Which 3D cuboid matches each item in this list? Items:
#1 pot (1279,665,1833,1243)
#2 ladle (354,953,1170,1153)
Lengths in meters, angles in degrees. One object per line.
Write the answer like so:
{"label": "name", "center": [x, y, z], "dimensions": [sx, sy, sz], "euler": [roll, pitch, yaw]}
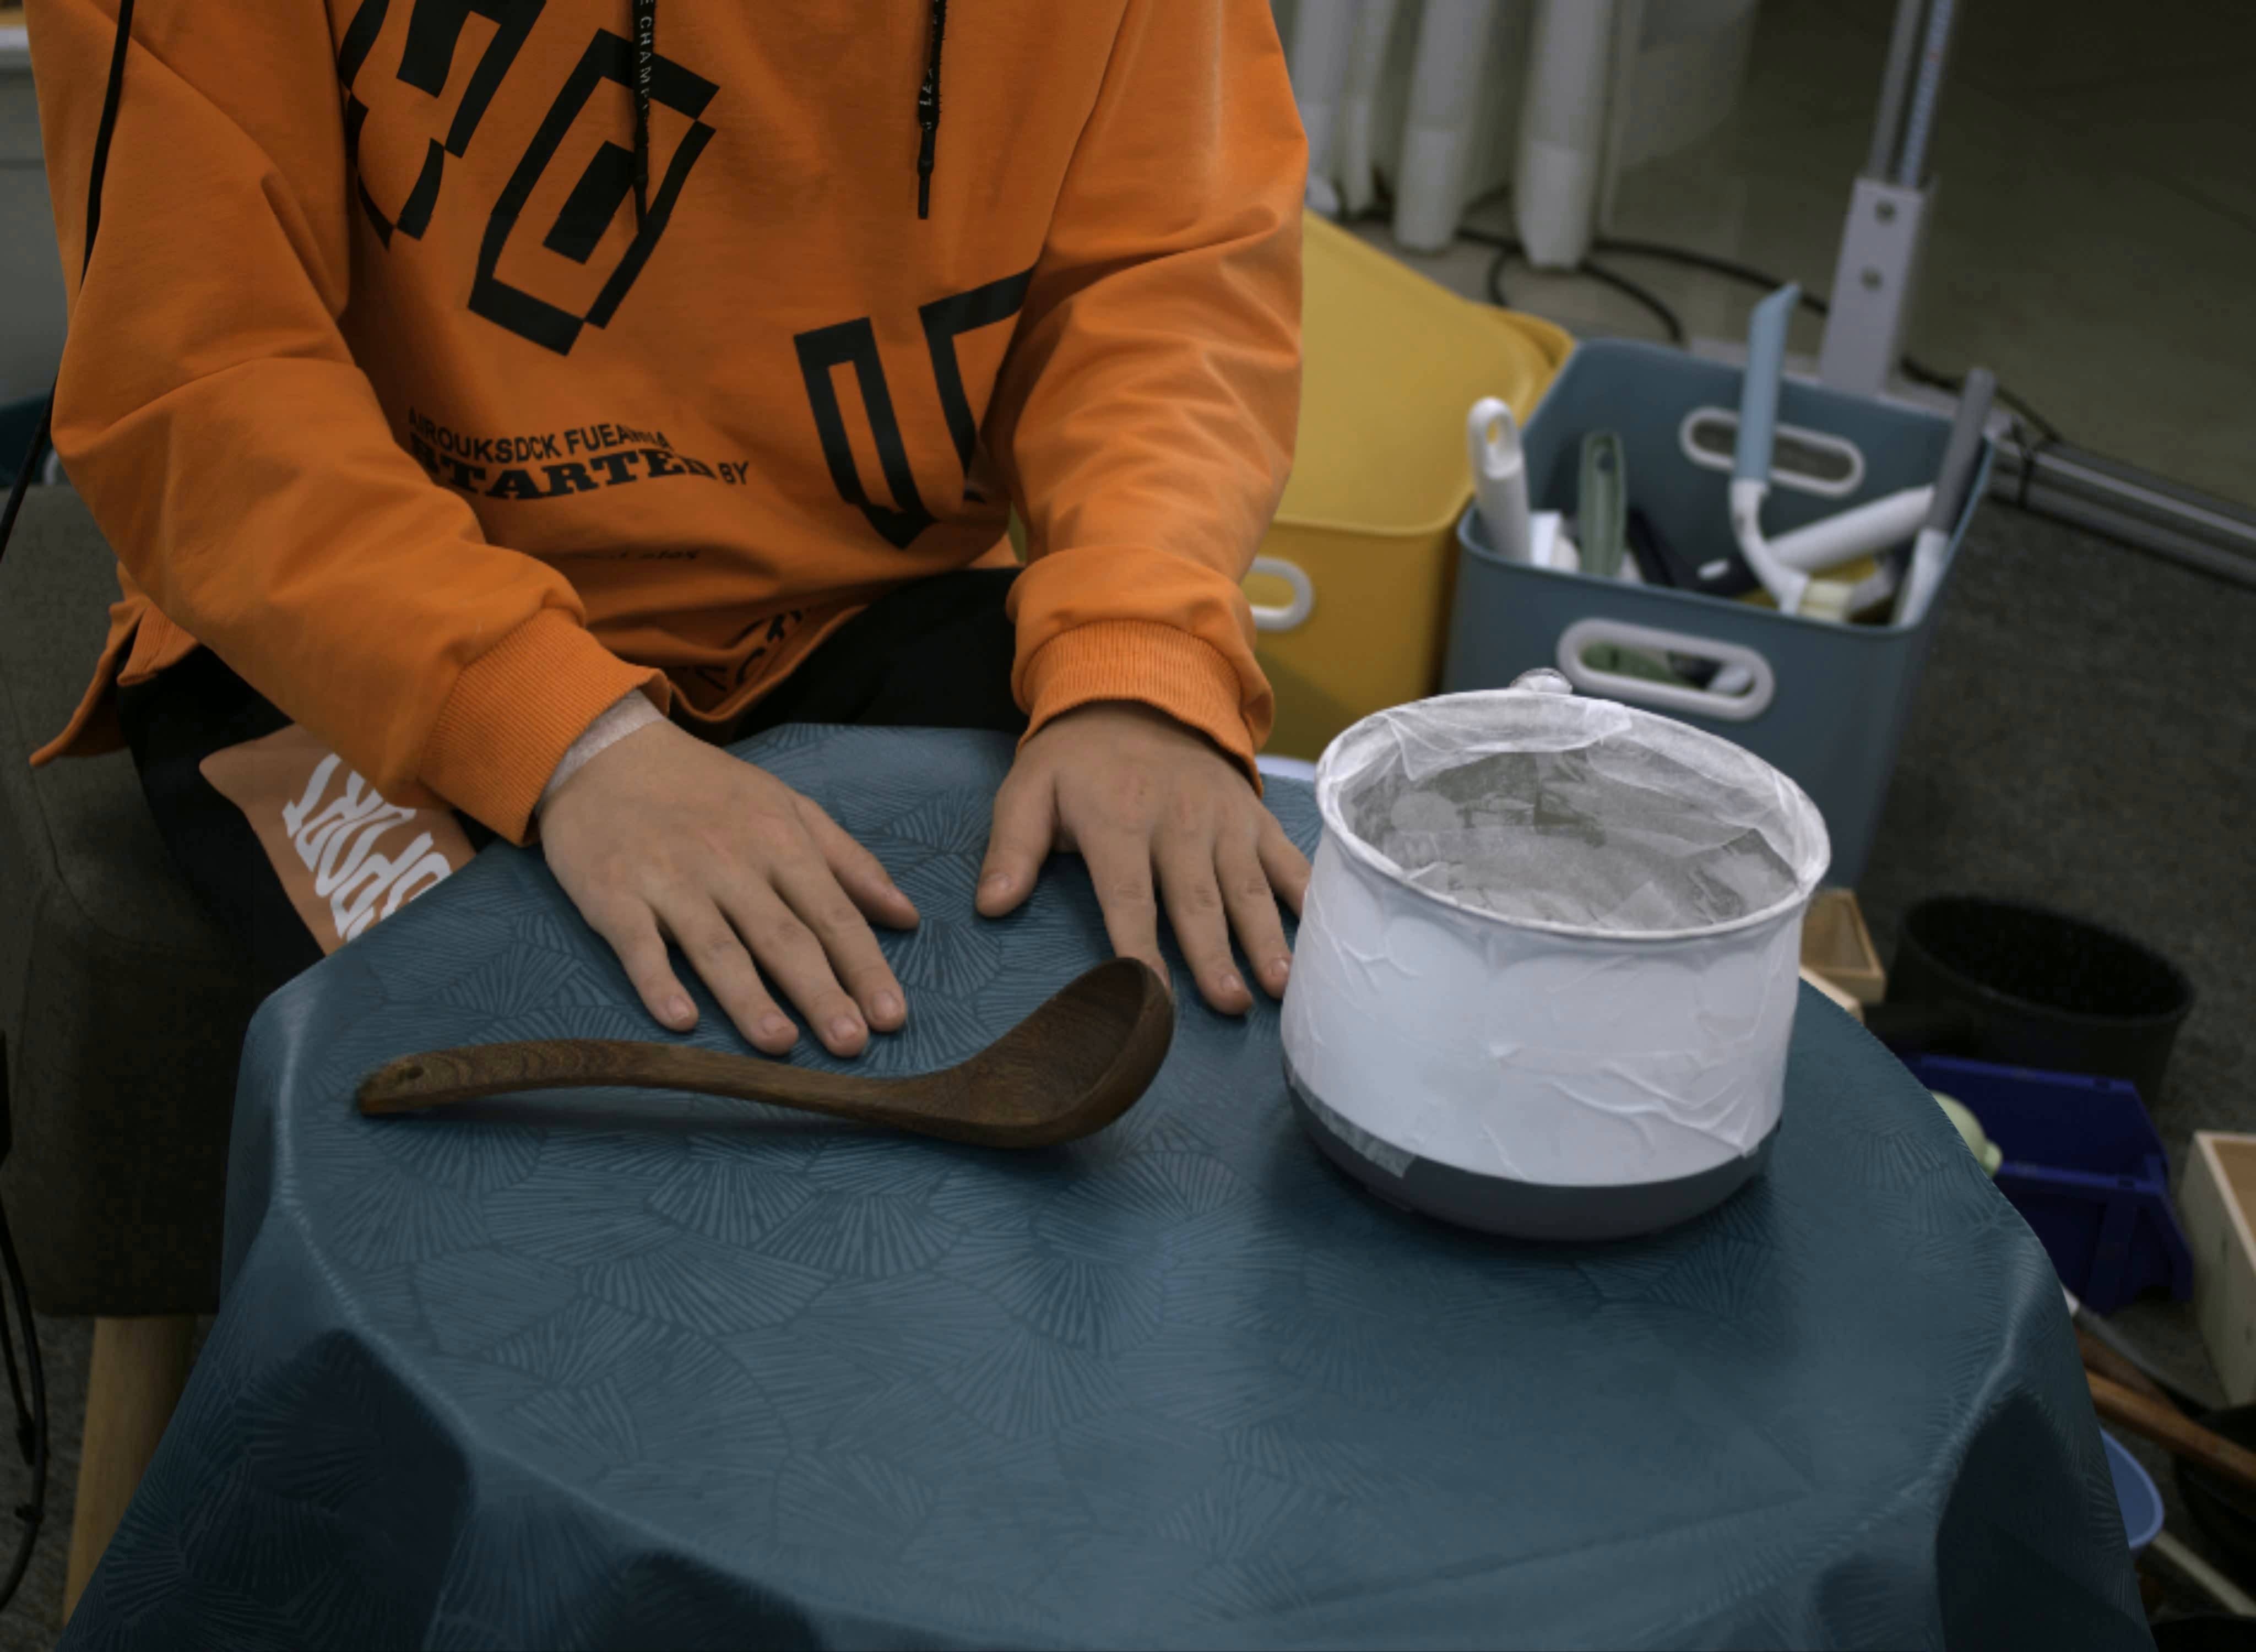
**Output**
{"label": "pot", "center": [0.142, 0.037, 1.853], "dimensions": [0.178, 0.136, 0.235], "euler": [5, 27, -5]}
{"label": "ladle", "center": [-0.123, 0.071, 1.802], "dimensions": [0.273, 0.071, 0.076], "euler": [4, 25, -7]}
